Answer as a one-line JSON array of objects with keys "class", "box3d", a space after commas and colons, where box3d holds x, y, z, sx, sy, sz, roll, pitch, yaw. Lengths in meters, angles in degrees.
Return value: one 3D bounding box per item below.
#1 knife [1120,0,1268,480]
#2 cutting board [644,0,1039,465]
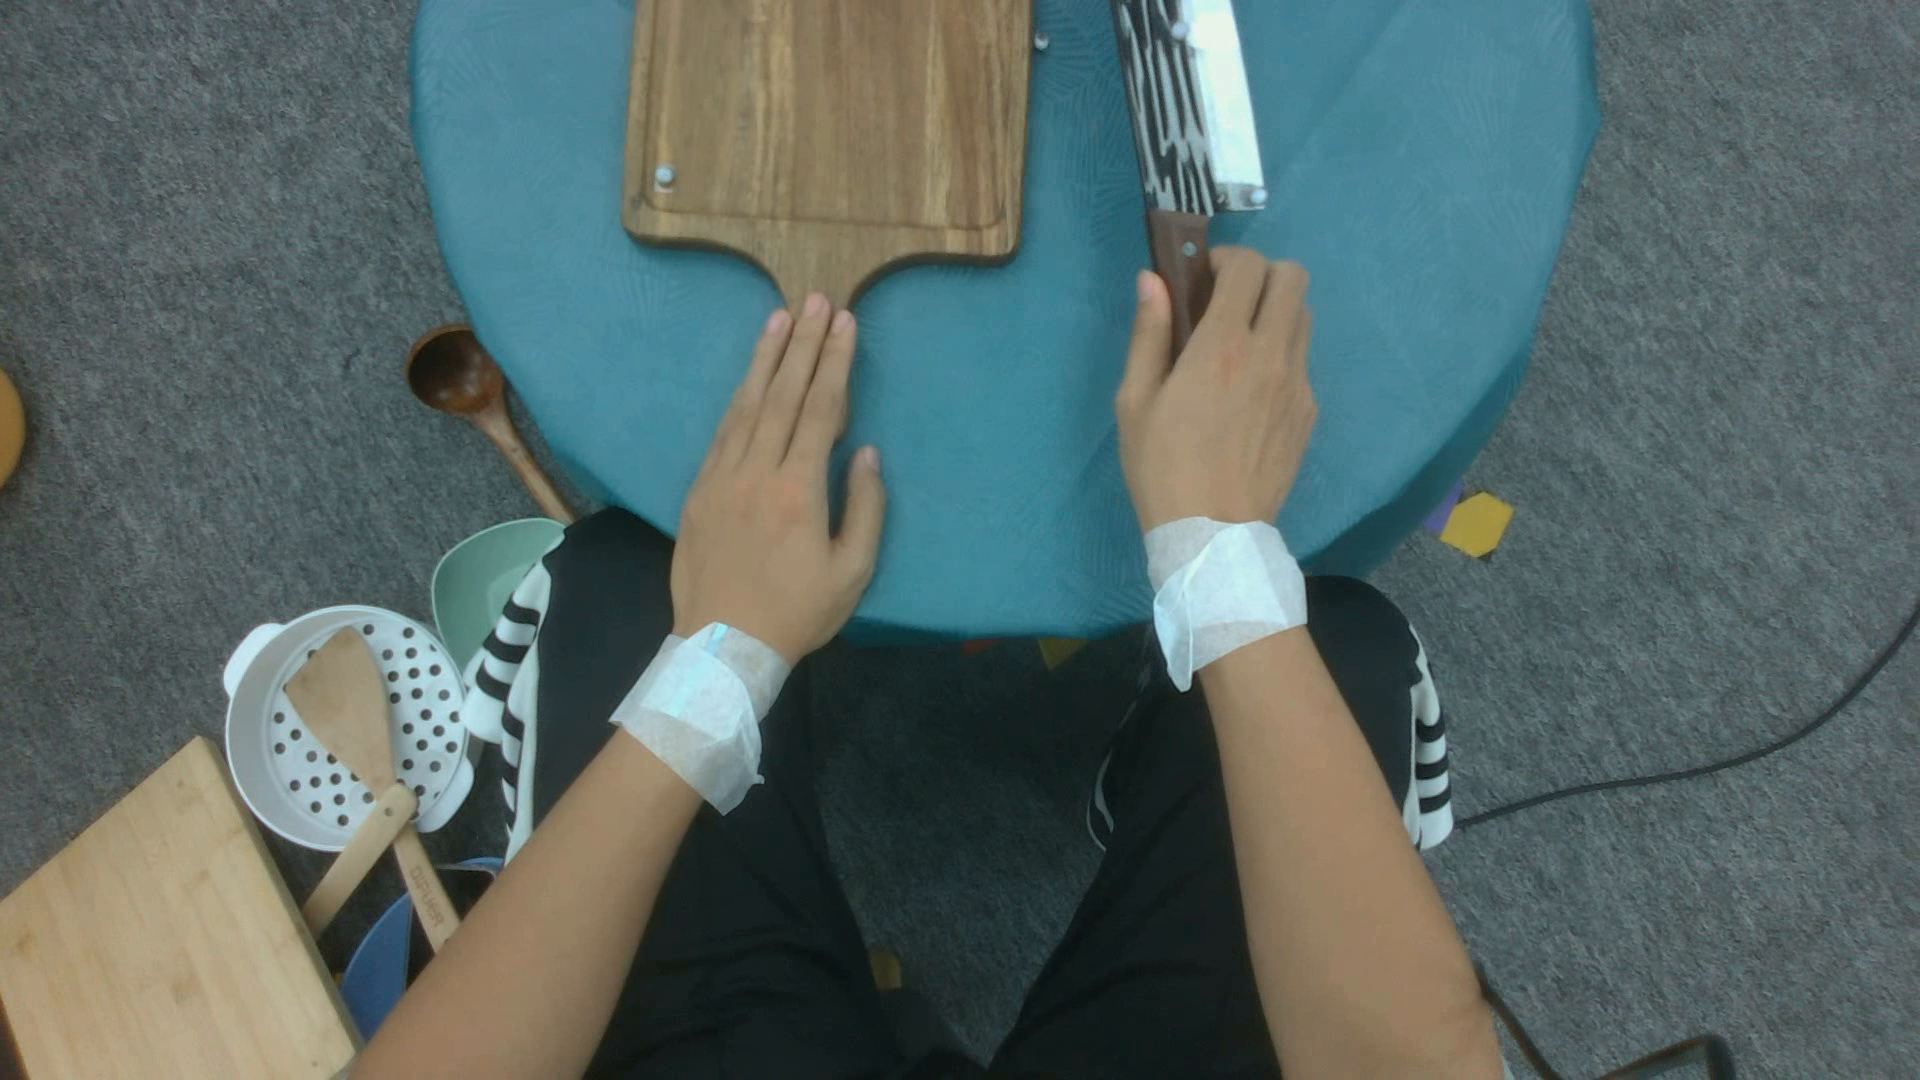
[{"class": "knife", "box3d": [0.118, -0.179, 0.670, 0.068, 0.024, 0.299, -5, 86, -22]}, {"class": "cutting board", "box3d": [-0.060, -0.213, 0.707, 0.201, 0.023, 0.352, 1, 83, -1]}]
